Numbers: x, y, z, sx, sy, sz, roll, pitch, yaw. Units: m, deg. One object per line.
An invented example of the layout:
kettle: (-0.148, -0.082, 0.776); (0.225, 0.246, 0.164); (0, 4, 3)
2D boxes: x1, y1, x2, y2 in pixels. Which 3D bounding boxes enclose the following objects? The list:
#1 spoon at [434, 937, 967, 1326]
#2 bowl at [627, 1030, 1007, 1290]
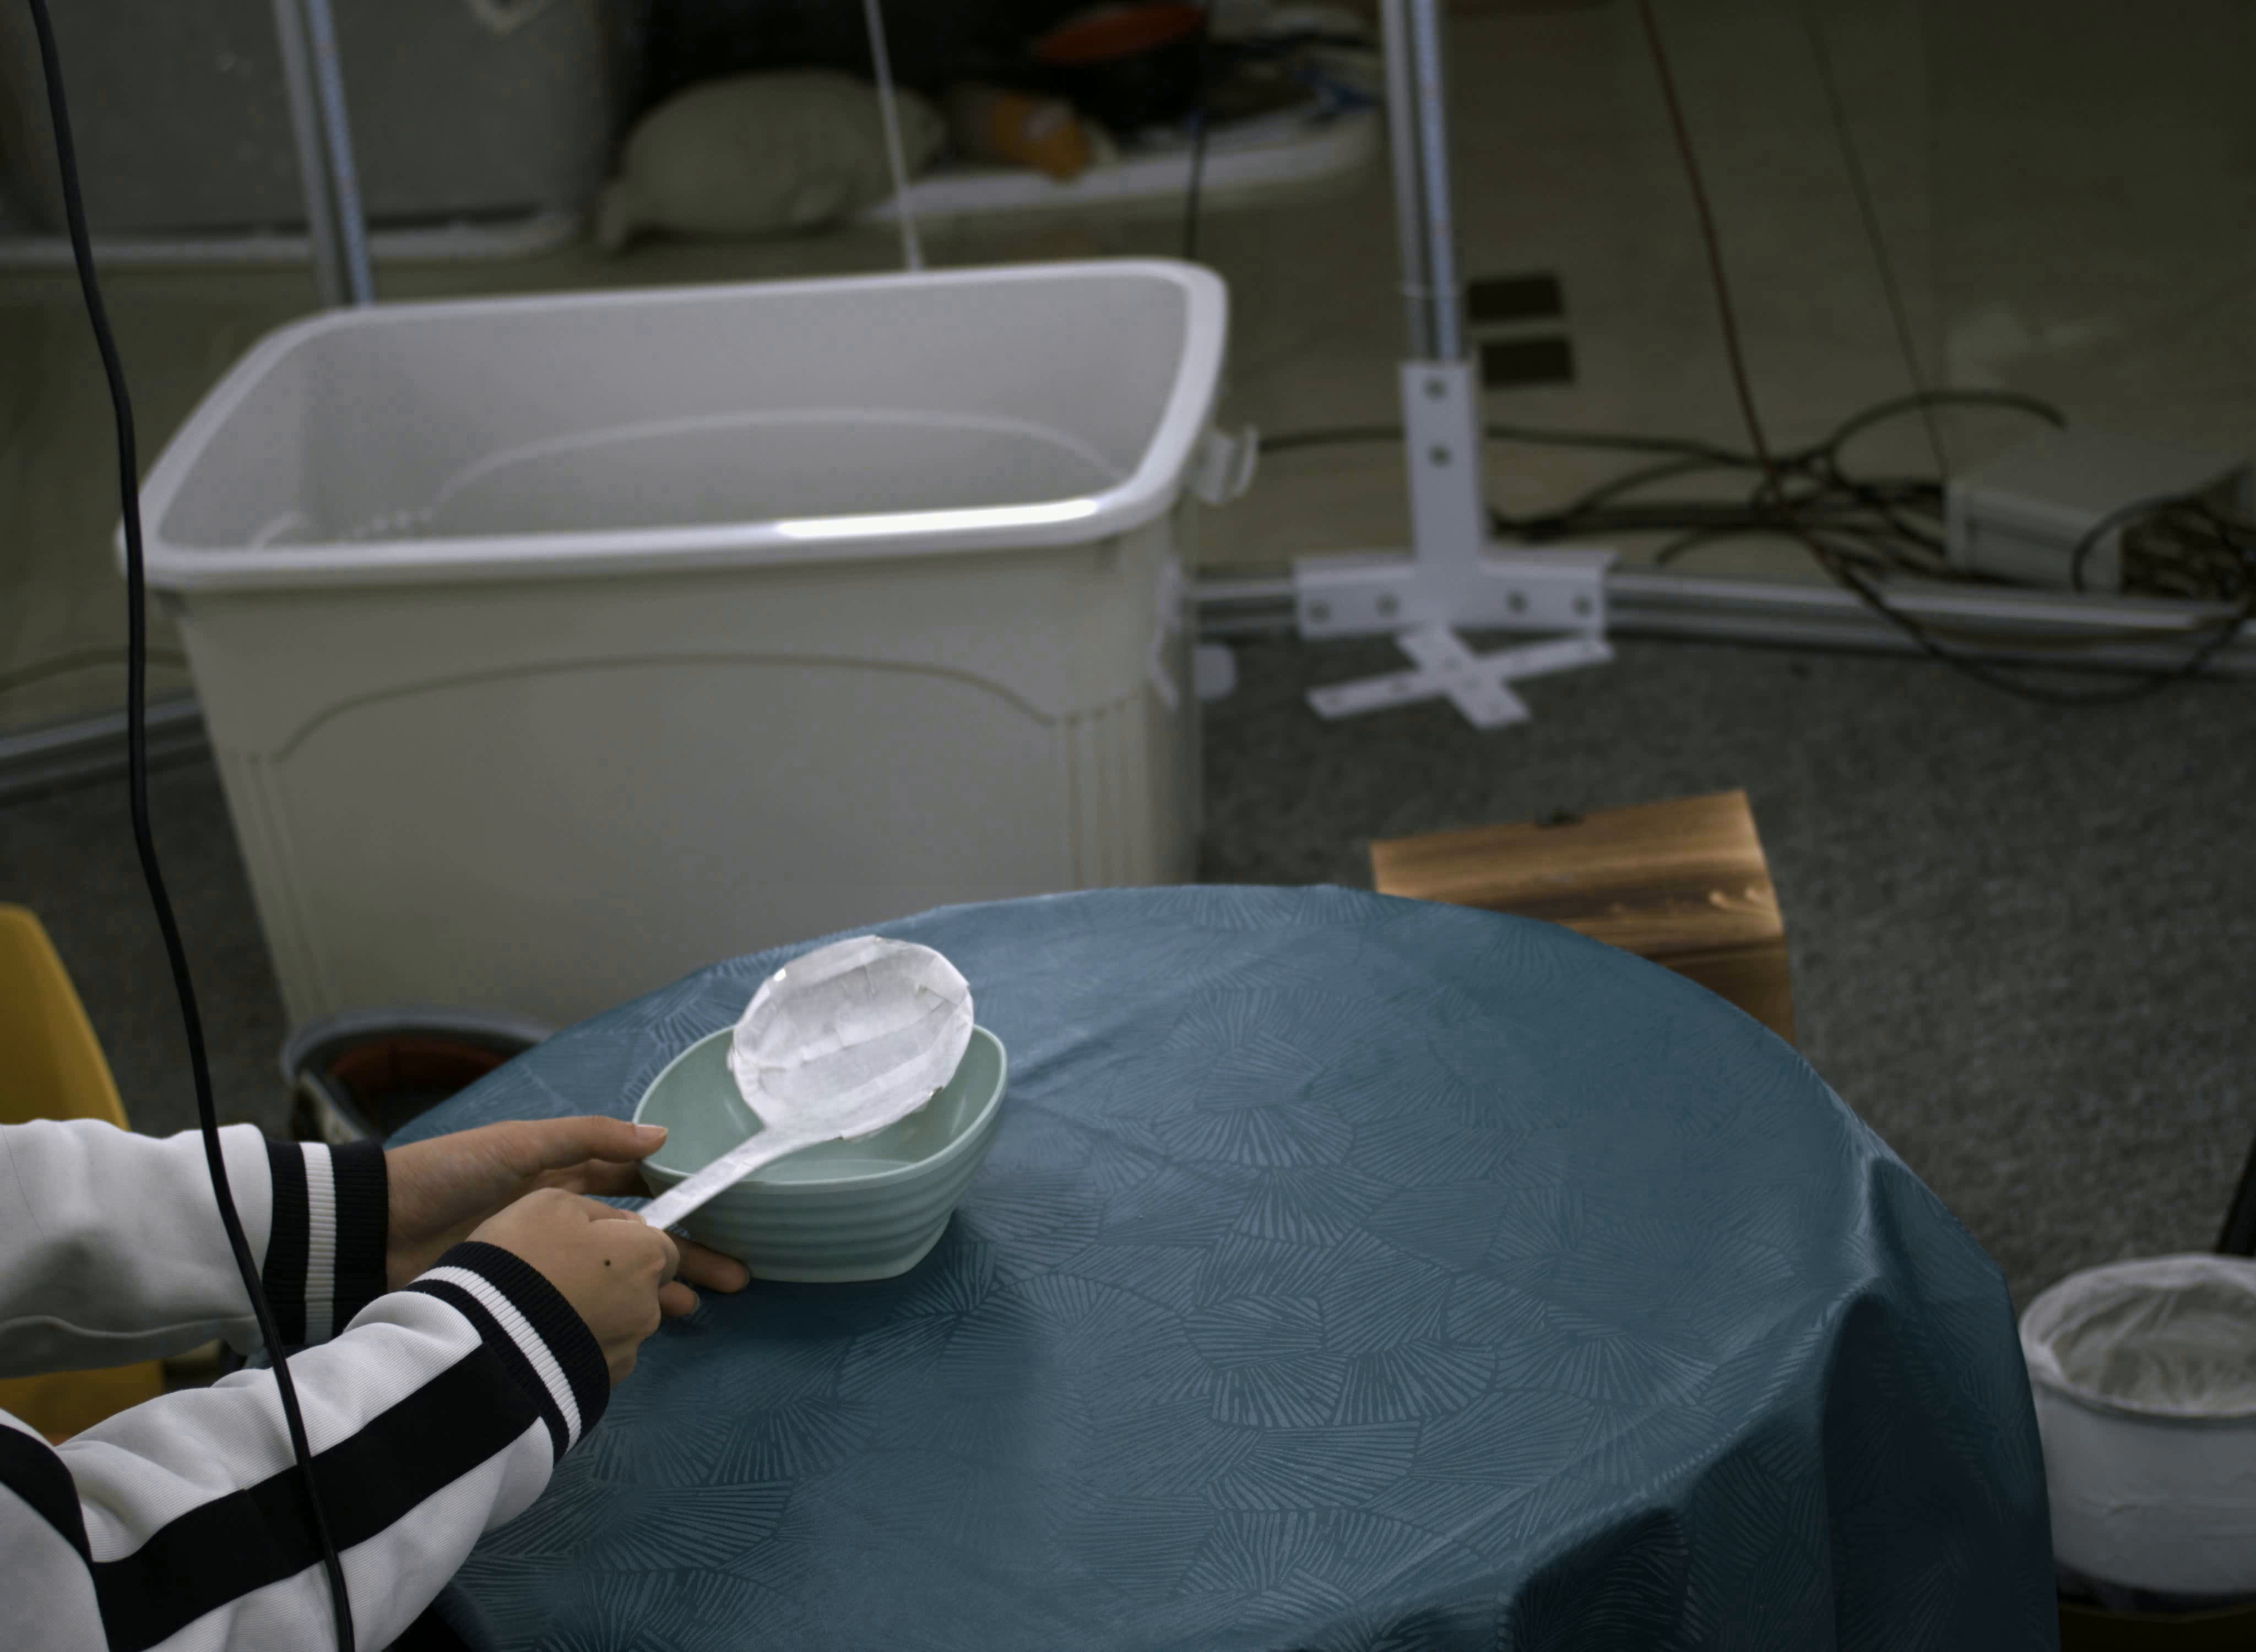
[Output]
spoon: (-0.161, 0.106, 2.030); (0.100, 0.060, 0.275); (11, 21, 33)
bowl: (-0.113, 0.129, 2.134); (0.151, 0.059, 0.149); (-5, 25, 3)
